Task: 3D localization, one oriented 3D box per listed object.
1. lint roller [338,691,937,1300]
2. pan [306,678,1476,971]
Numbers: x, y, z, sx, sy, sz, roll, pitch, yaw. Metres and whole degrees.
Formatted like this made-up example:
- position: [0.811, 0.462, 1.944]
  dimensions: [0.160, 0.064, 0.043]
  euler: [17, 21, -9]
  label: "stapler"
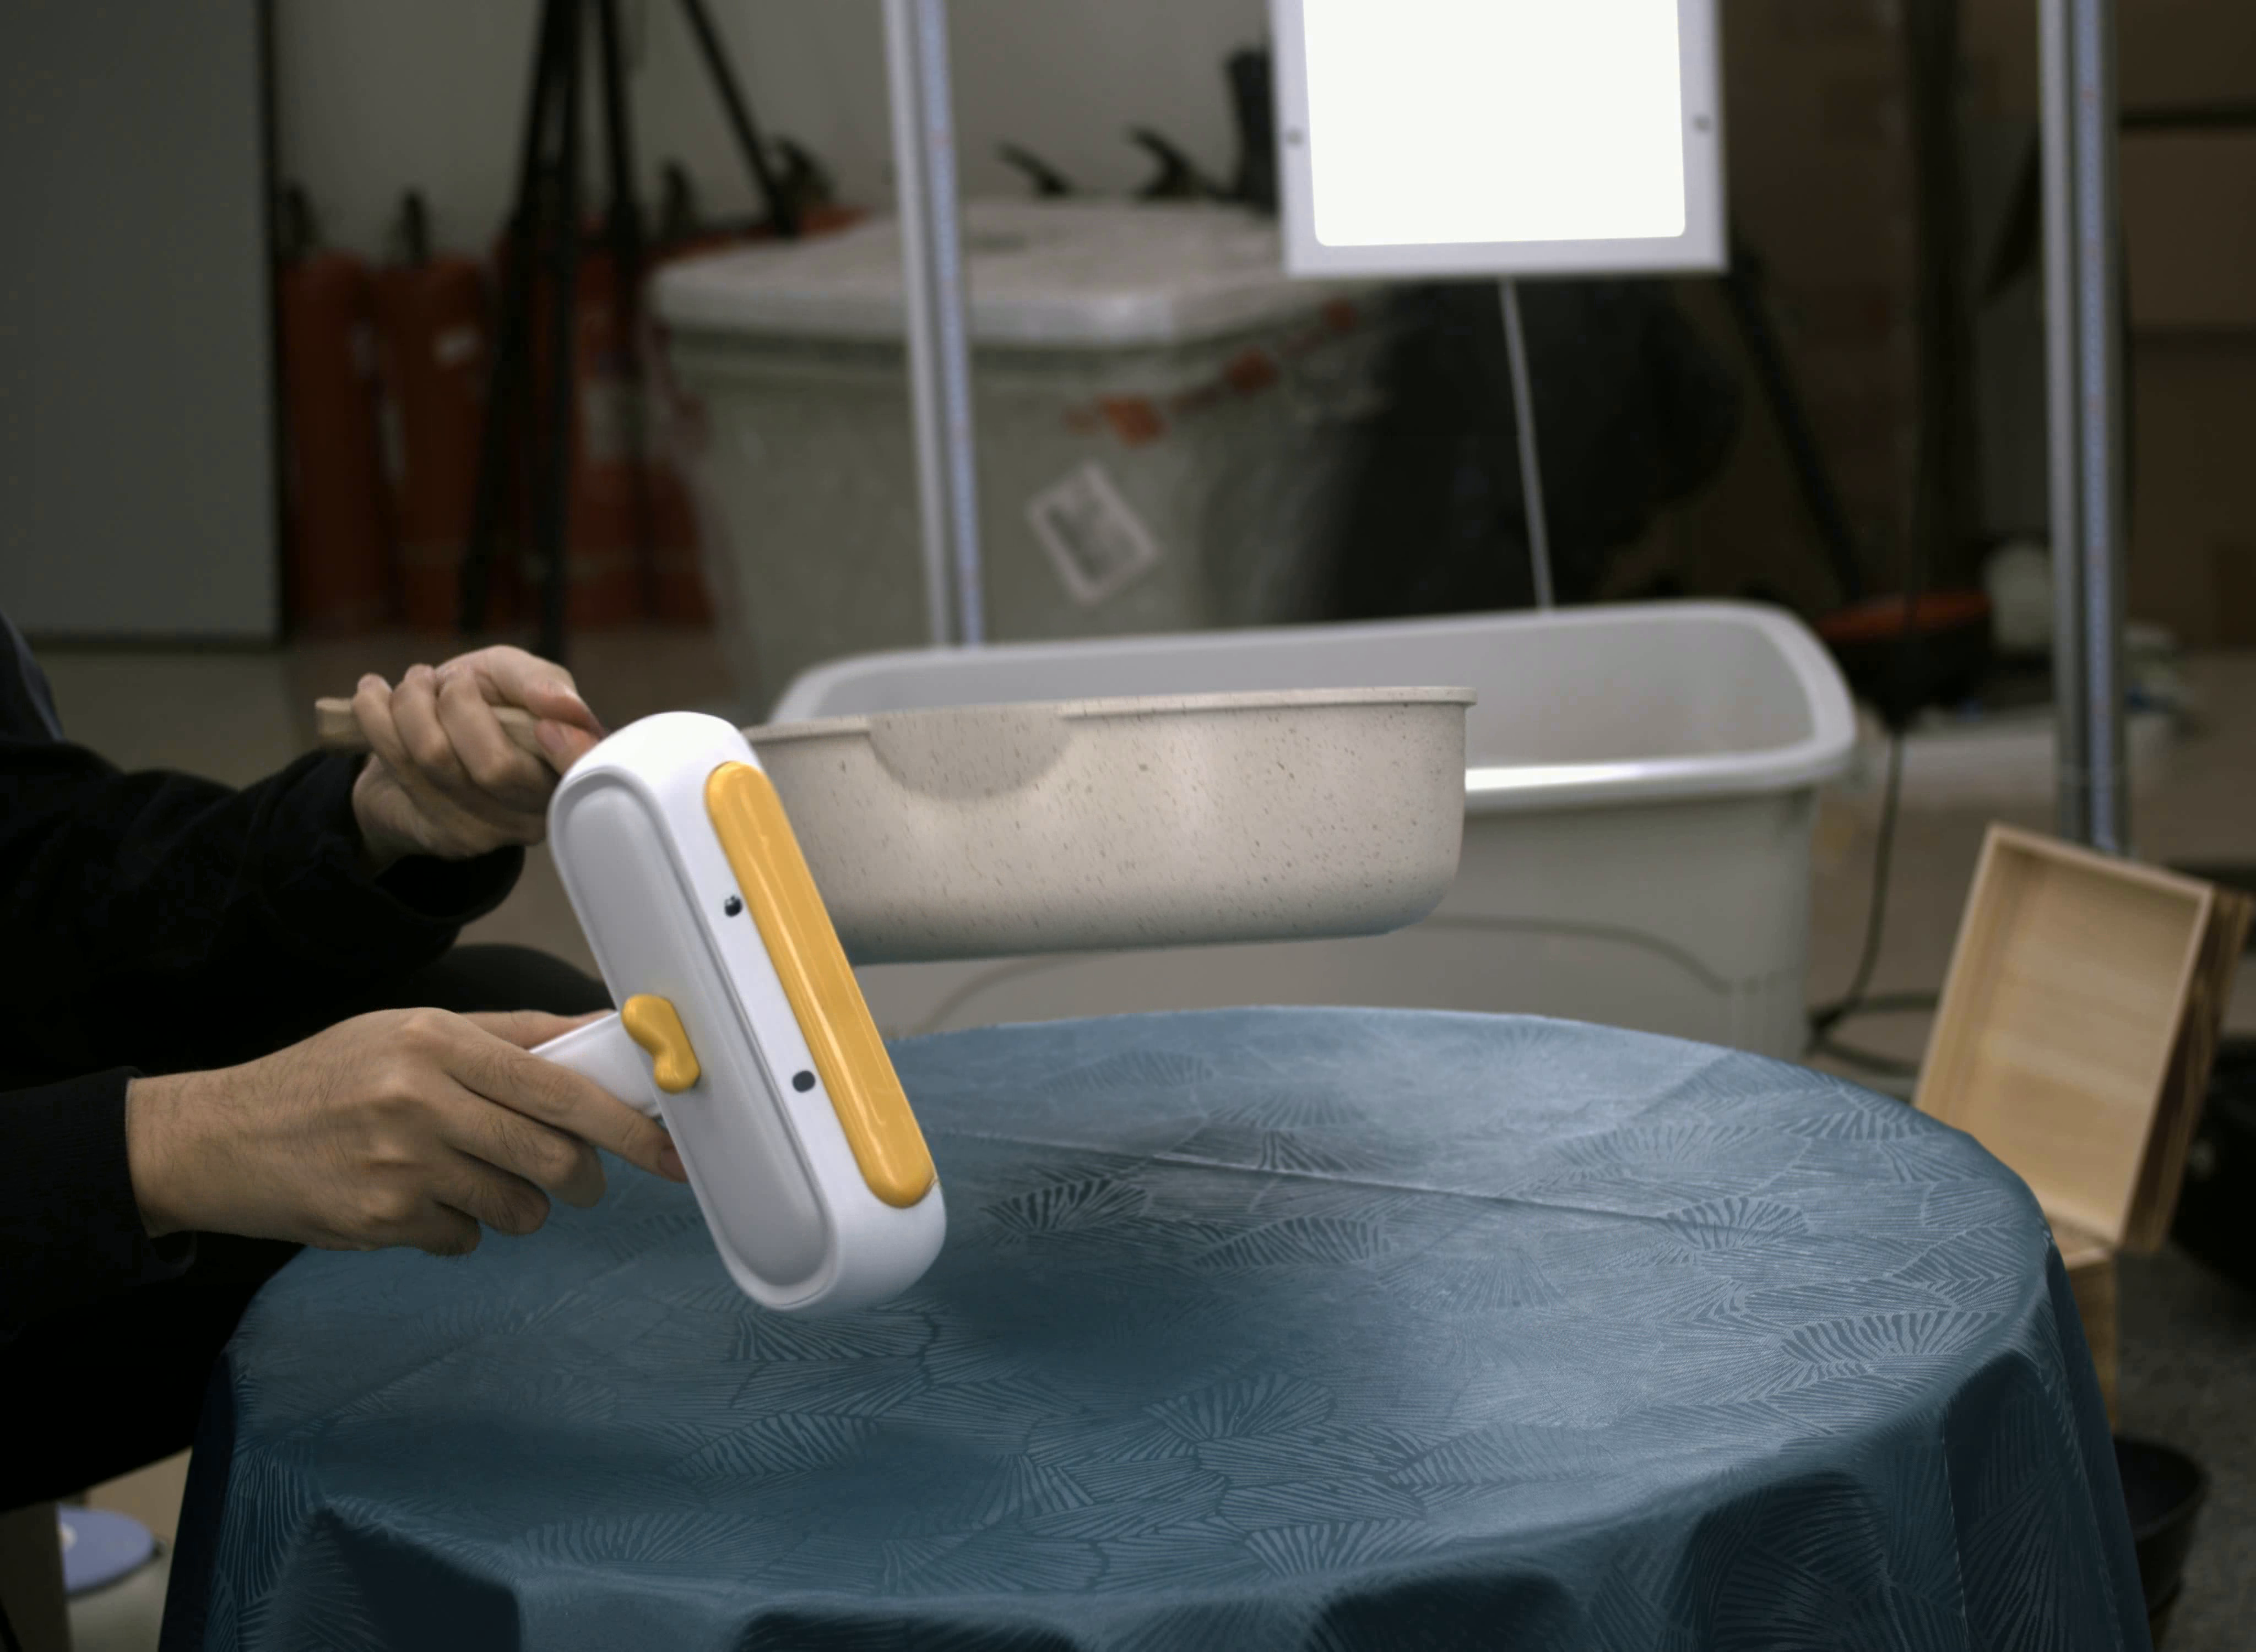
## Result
- position: [-0.165, 0.078, 1.710]
  dimensions: [0.196, 0.193, 0.072]
  euler: [-31, -7, 36]
  label: "lint roller"
- position: [-0.089, -0.002, 1.907]
  dimensions: [0.442, 0.102, 0.258]
  euler: [-4, 0, 24]
  label: "pan"
